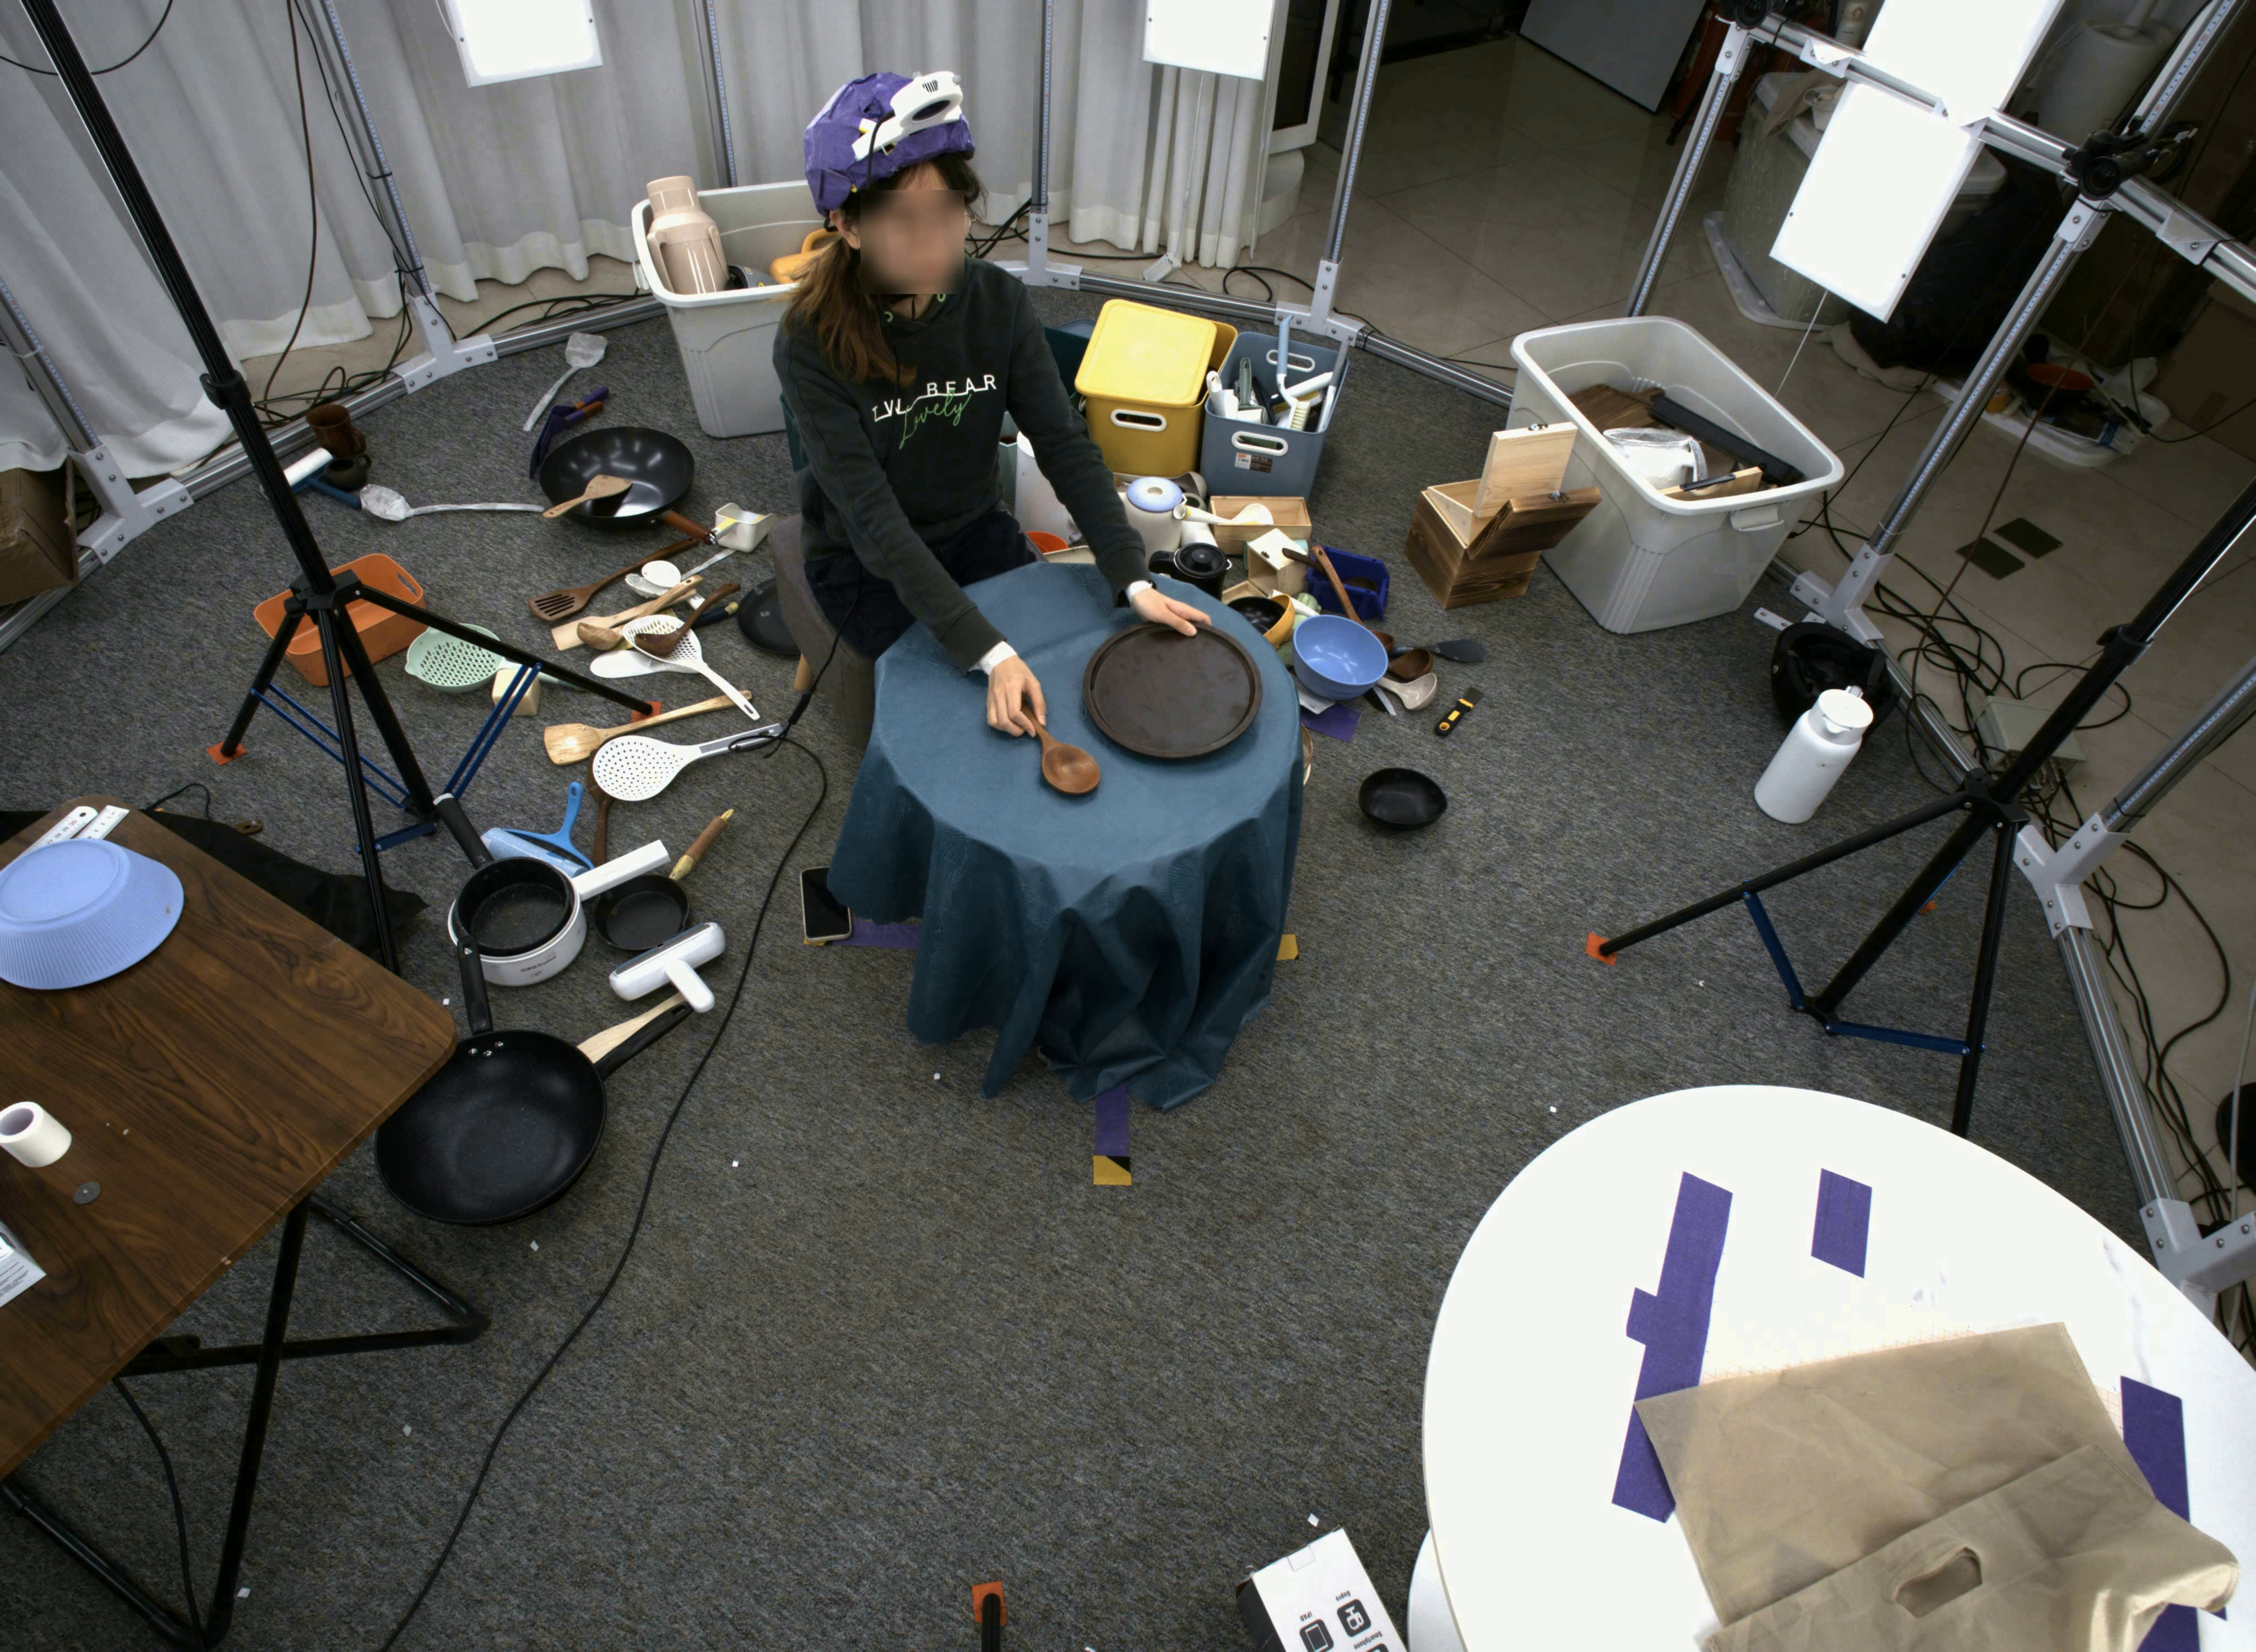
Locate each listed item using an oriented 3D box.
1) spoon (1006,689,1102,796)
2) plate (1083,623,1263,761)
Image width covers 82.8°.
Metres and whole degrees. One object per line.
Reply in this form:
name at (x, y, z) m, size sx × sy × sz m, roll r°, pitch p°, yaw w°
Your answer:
spoon at (-0.109, -0.116, 1.764) m, size 0.076 × 0.017 × 0.220 m, roll -23°, pitch 56°, yaw -22°
plate at (0.064, -0.193, 1.824) m, size 0.254 × 0.028 × 0.261 m, roll 0°, pitch 54°, yaw 0°
